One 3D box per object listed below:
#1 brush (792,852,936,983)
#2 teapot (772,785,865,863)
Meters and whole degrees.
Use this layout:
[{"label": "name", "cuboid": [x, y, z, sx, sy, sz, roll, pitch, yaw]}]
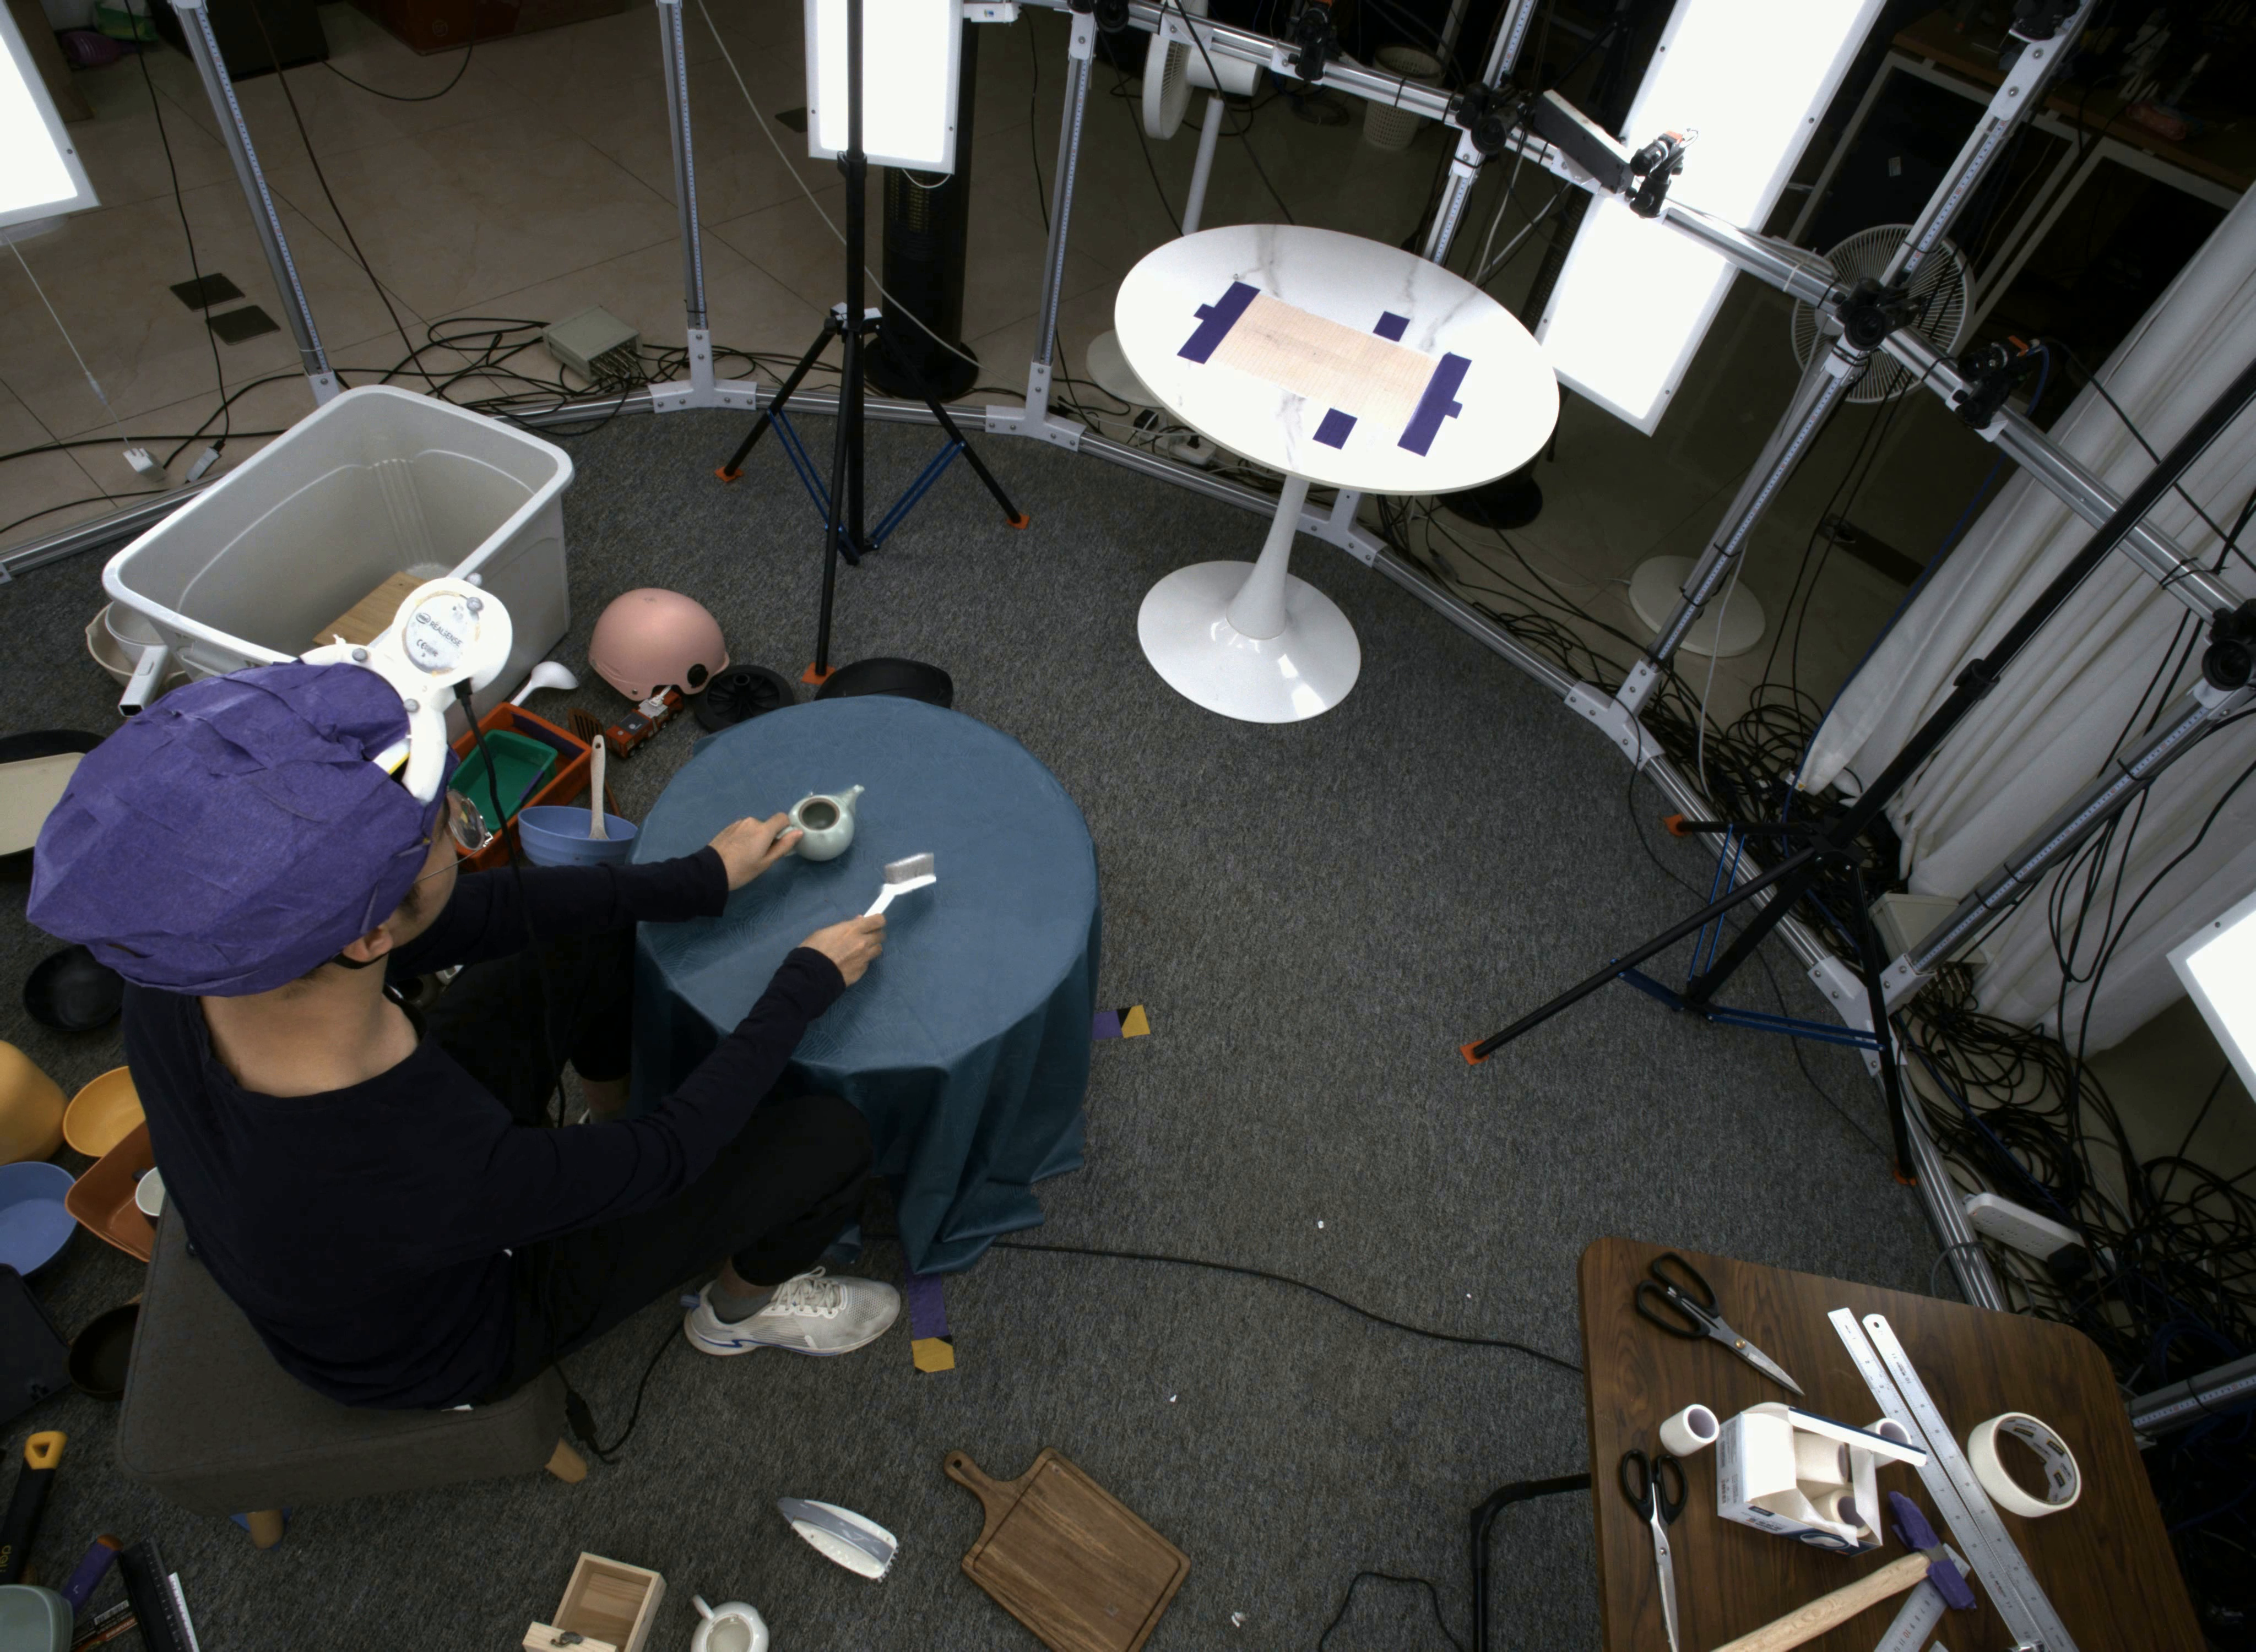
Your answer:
[{"label": "brush", "cuboid": [-0.328, 0.103, 1.598, 0.033, 0.052, 0.244, 8, 37, 42]}, {"label": "teapot", "cuboid": [-0.401, 0.002, 1.684, 0.144, 0.076, 0.086, -33, 67, -33]}]
